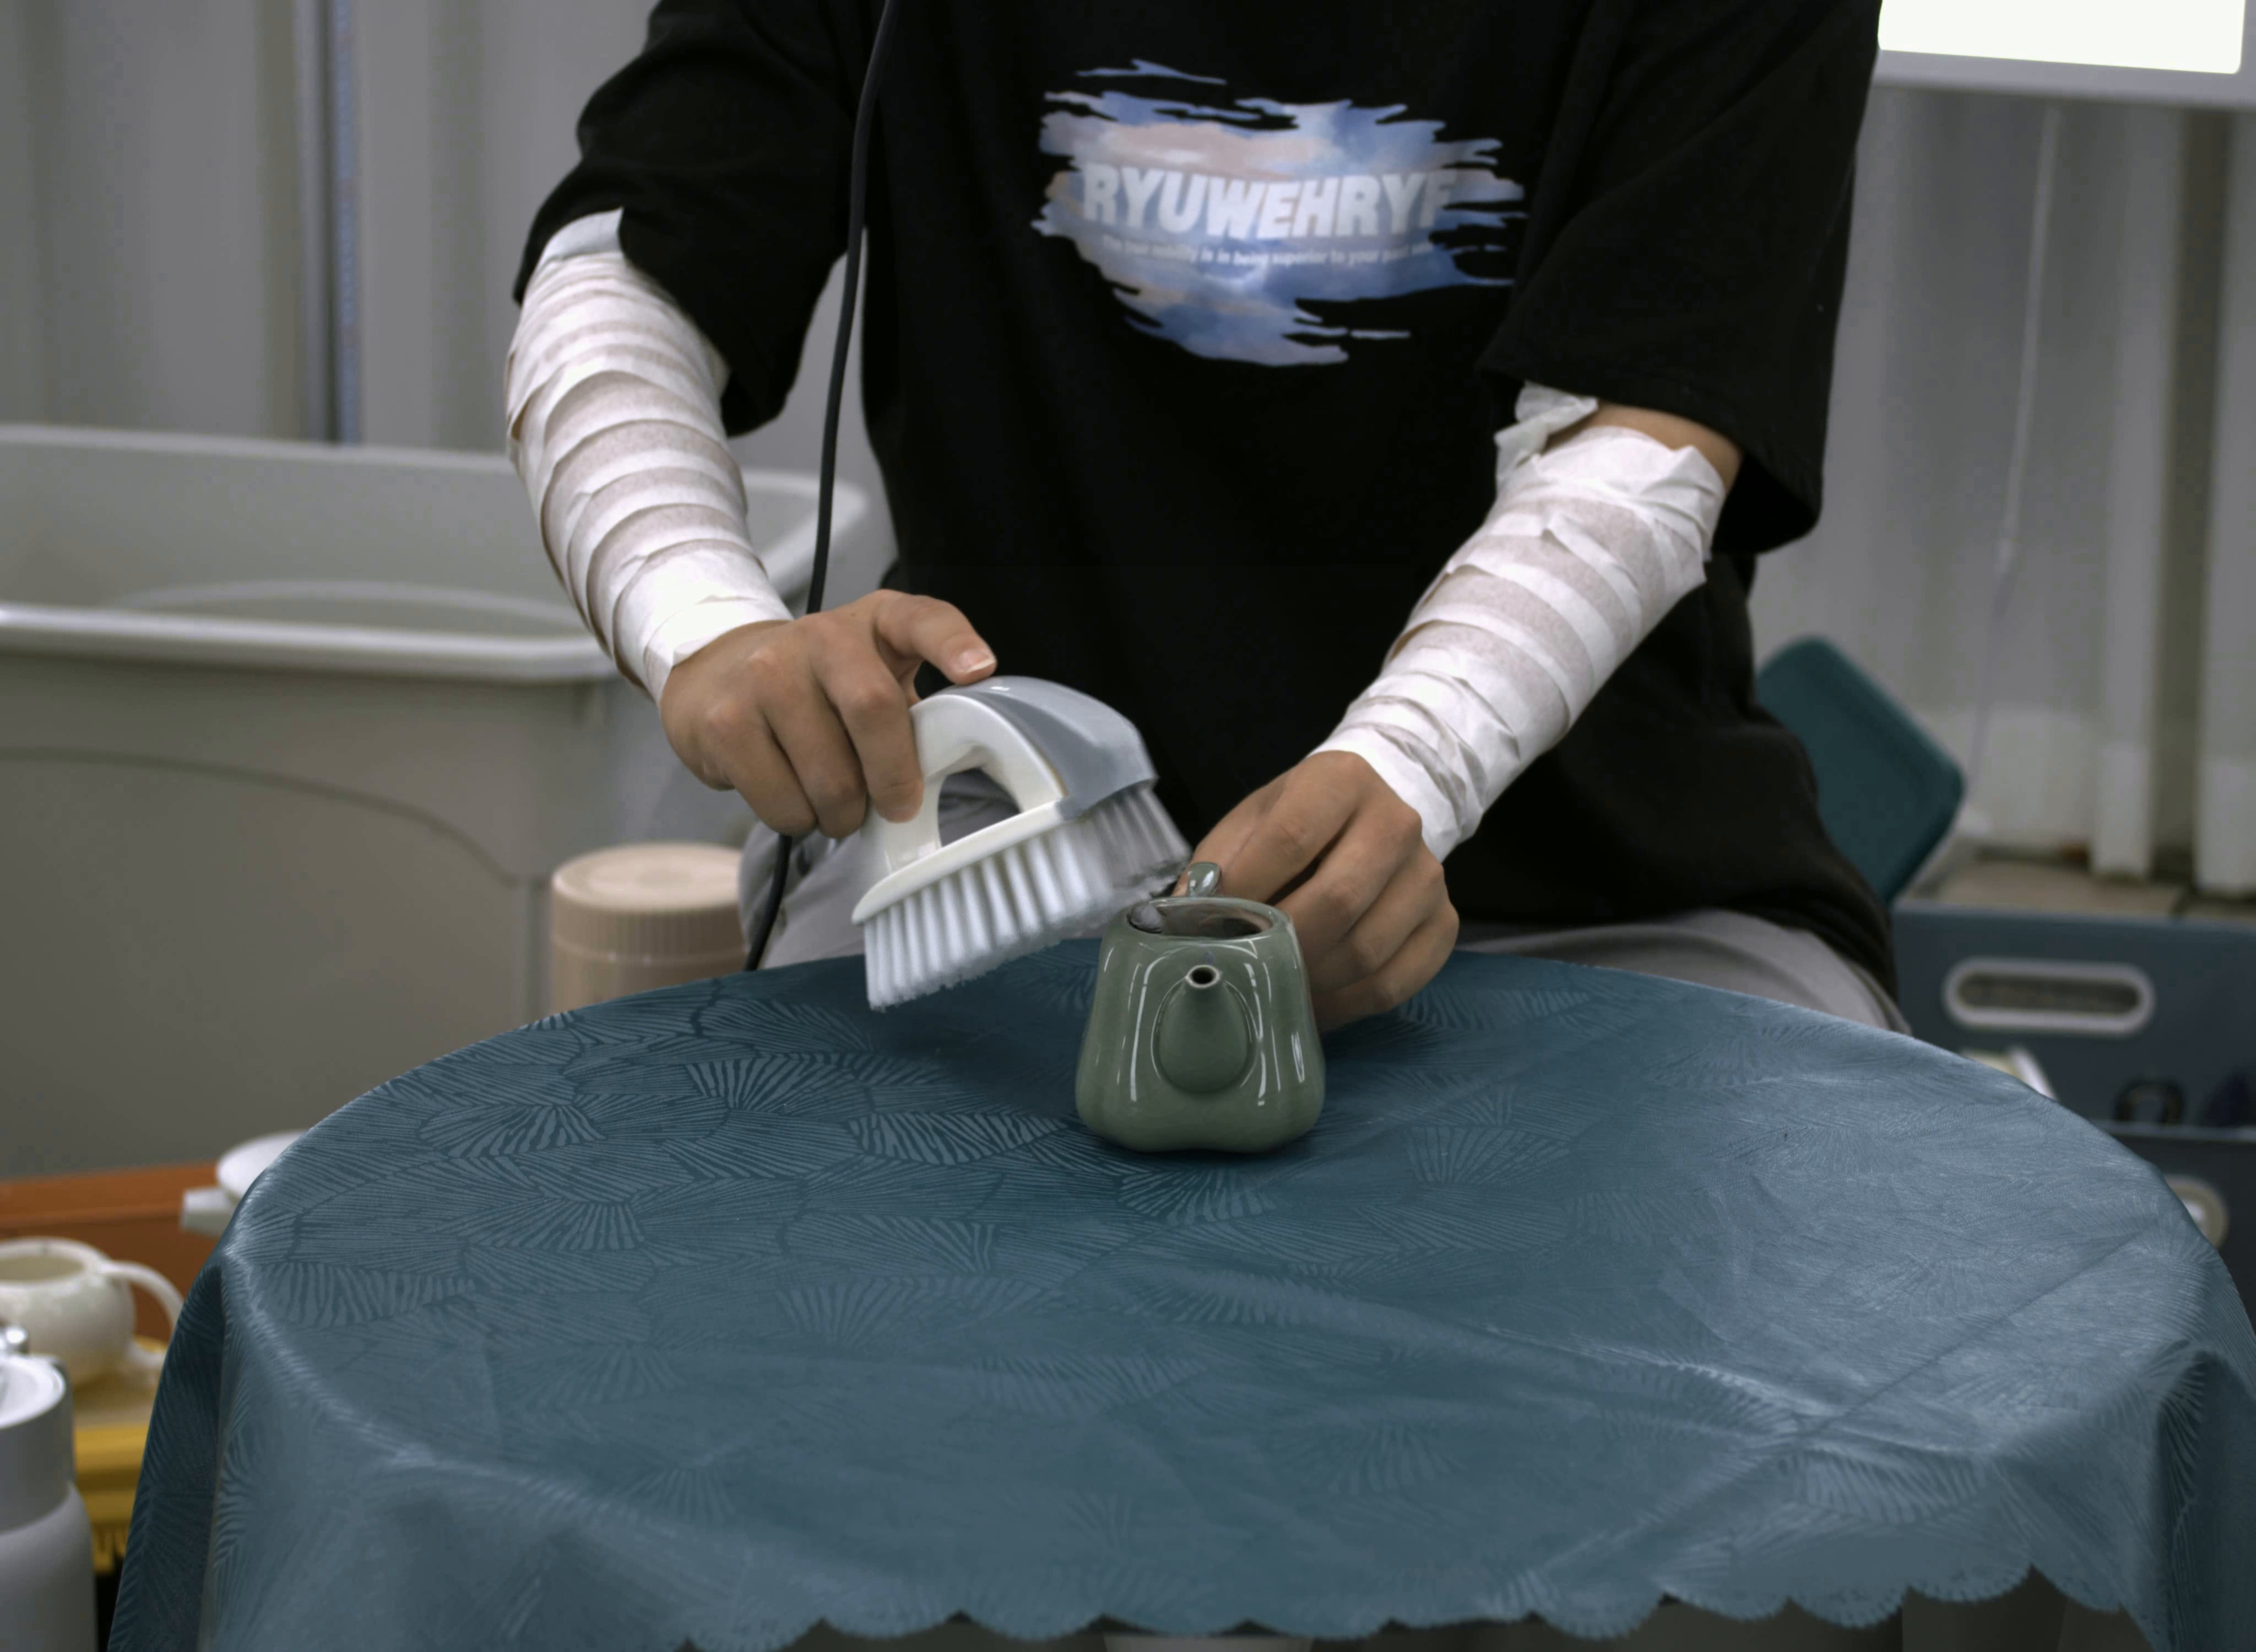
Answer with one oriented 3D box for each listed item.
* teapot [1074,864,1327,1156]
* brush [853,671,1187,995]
[{"bbox_3d":[0.024,0.061,1.675,0.079,0.076,0.132,4,14,4],"label":"teapot"},{"bbox_3d":[-0.038,-0.007,1.701,0.061,0.094,0.174,-19,-2,-31],"label":"brush"}]
